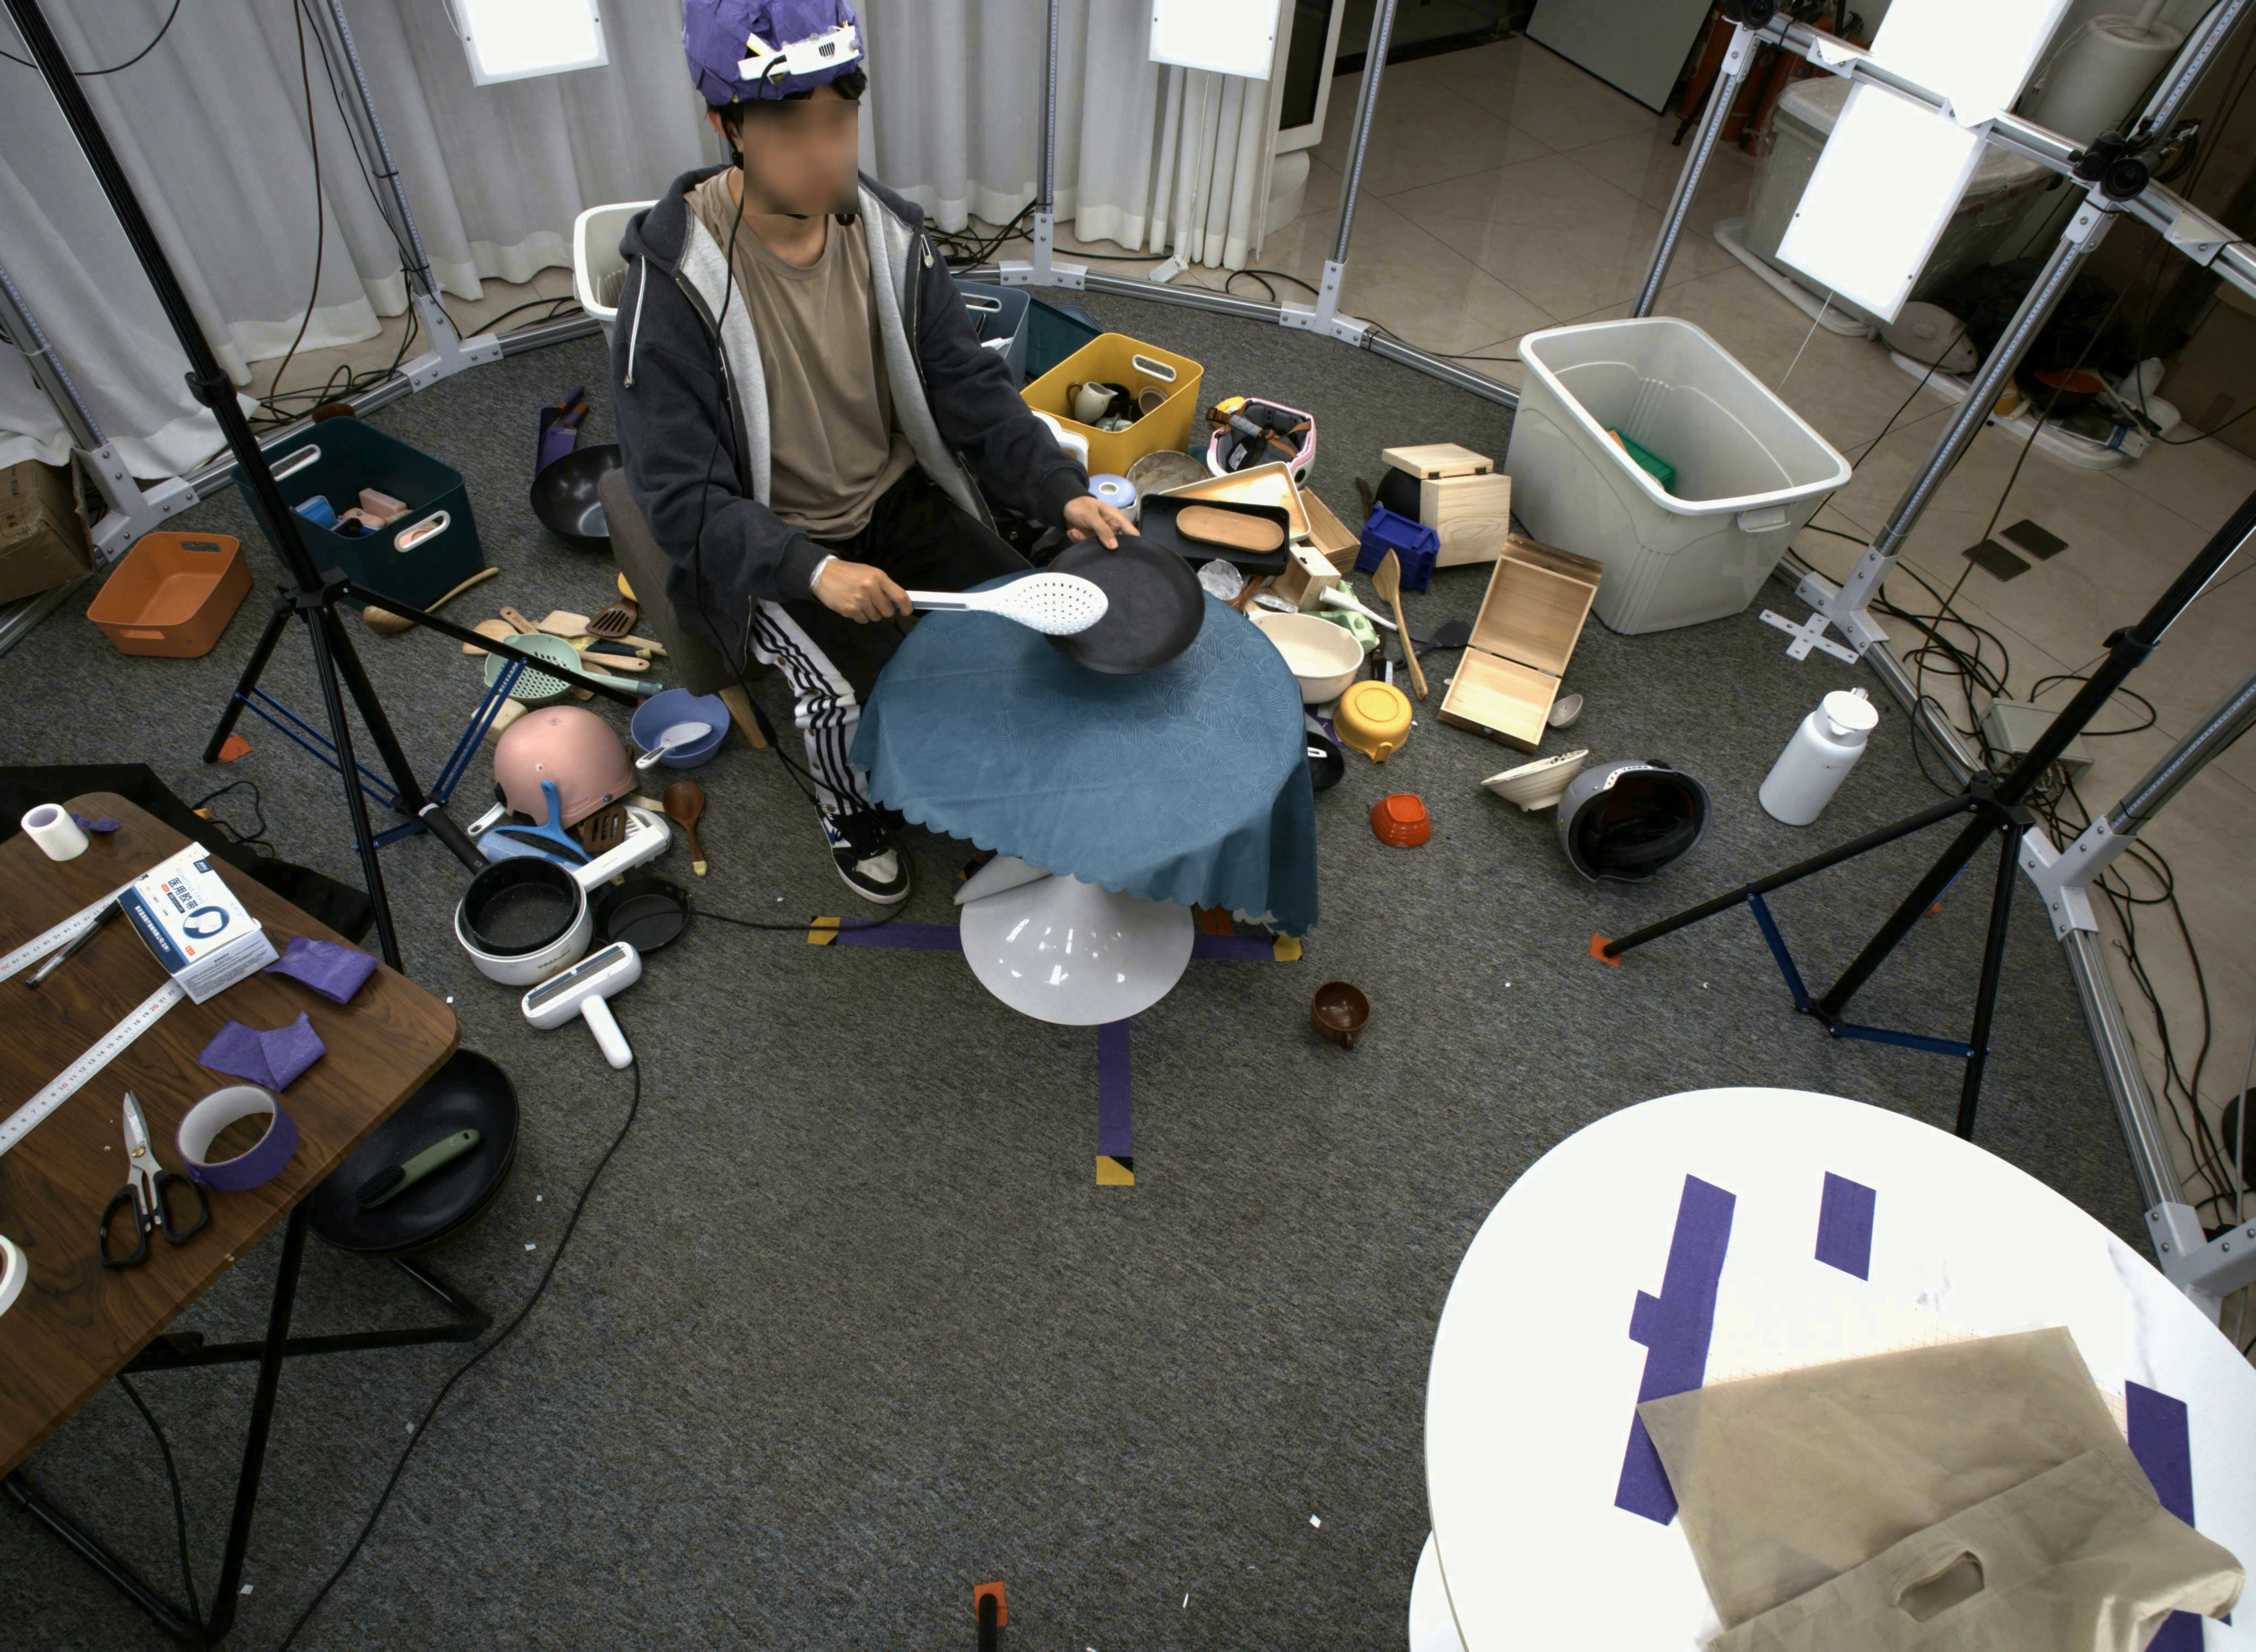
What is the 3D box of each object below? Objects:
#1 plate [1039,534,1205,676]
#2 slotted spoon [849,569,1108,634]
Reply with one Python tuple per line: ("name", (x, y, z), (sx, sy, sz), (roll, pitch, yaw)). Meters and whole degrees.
("plate", (-0.012, -0.314, 1.835), (0.244, 0.023, 0.249), (0, 62, -1))
("slotted spoon", (-0.202, -0.306, 1.748), (0.350, 0.133, 0.046), (7, 65, 5))
